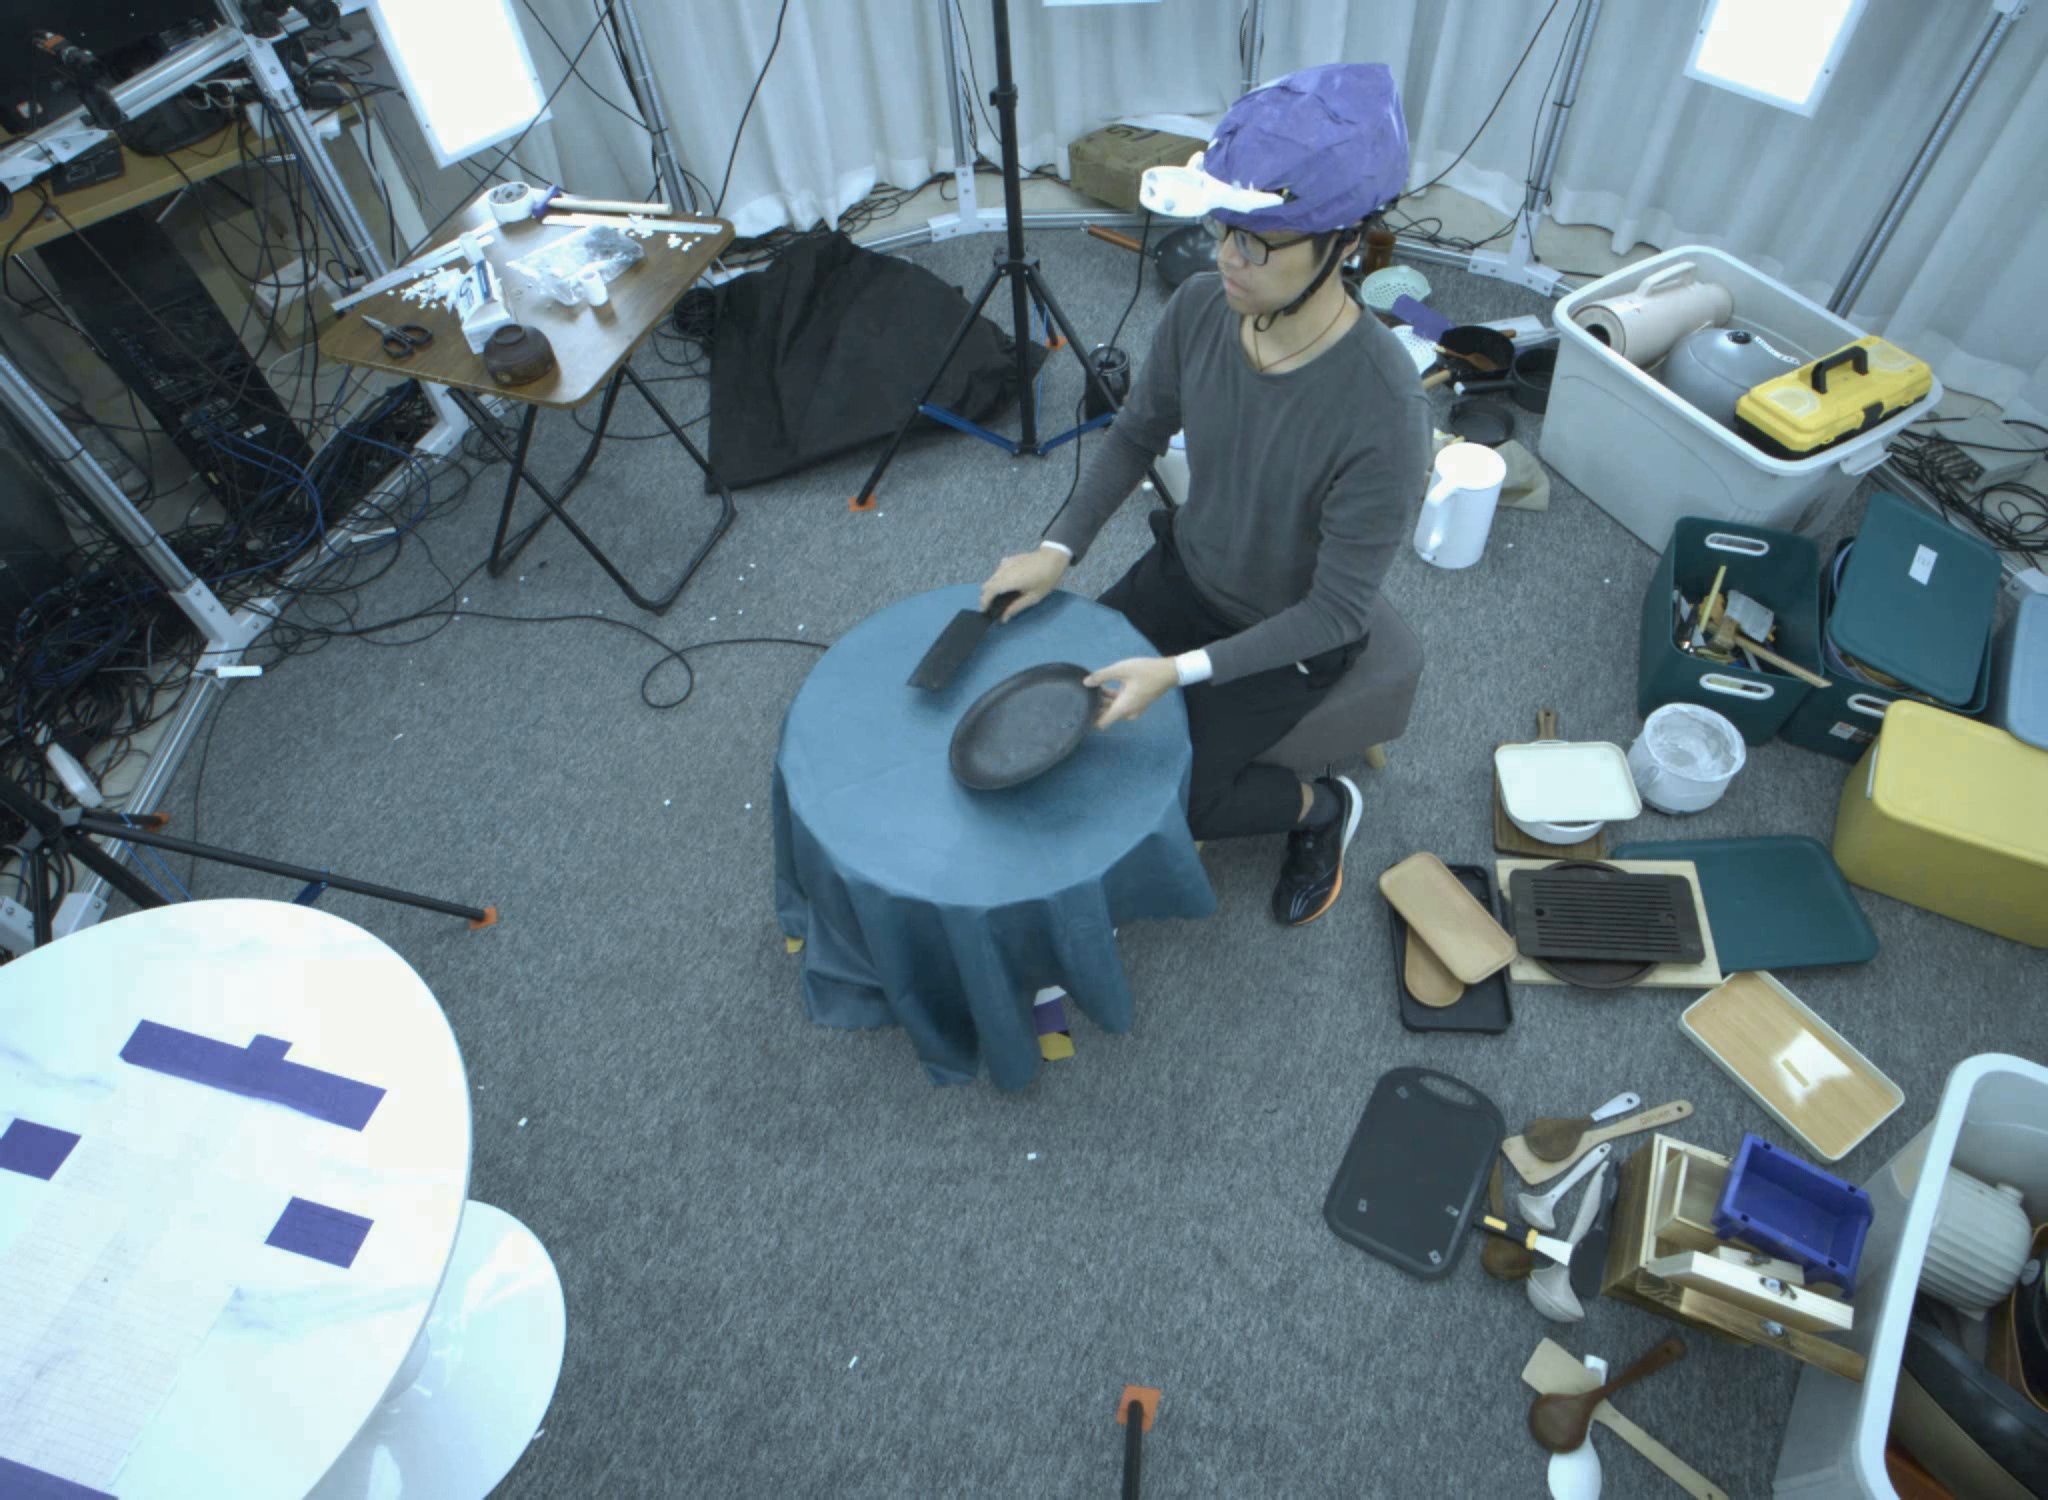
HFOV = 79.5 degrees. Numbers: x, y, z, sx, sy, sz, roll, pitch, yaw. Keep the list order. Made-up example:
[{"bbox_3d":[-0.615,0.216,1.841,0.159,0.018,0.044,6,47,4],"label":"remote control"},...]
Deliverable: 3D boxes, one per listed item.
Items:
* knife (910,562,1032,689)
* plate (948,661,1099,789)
[{"bbox_3d":[-0.076,-0.196,1.896,0.079,0.021,0.303,18,52,28],"label":"knife"},{"bbox_3d":[0.001,-0.034,1.757,0.242,0.024,0.242,-20,40,19],"label":"plate"}]
